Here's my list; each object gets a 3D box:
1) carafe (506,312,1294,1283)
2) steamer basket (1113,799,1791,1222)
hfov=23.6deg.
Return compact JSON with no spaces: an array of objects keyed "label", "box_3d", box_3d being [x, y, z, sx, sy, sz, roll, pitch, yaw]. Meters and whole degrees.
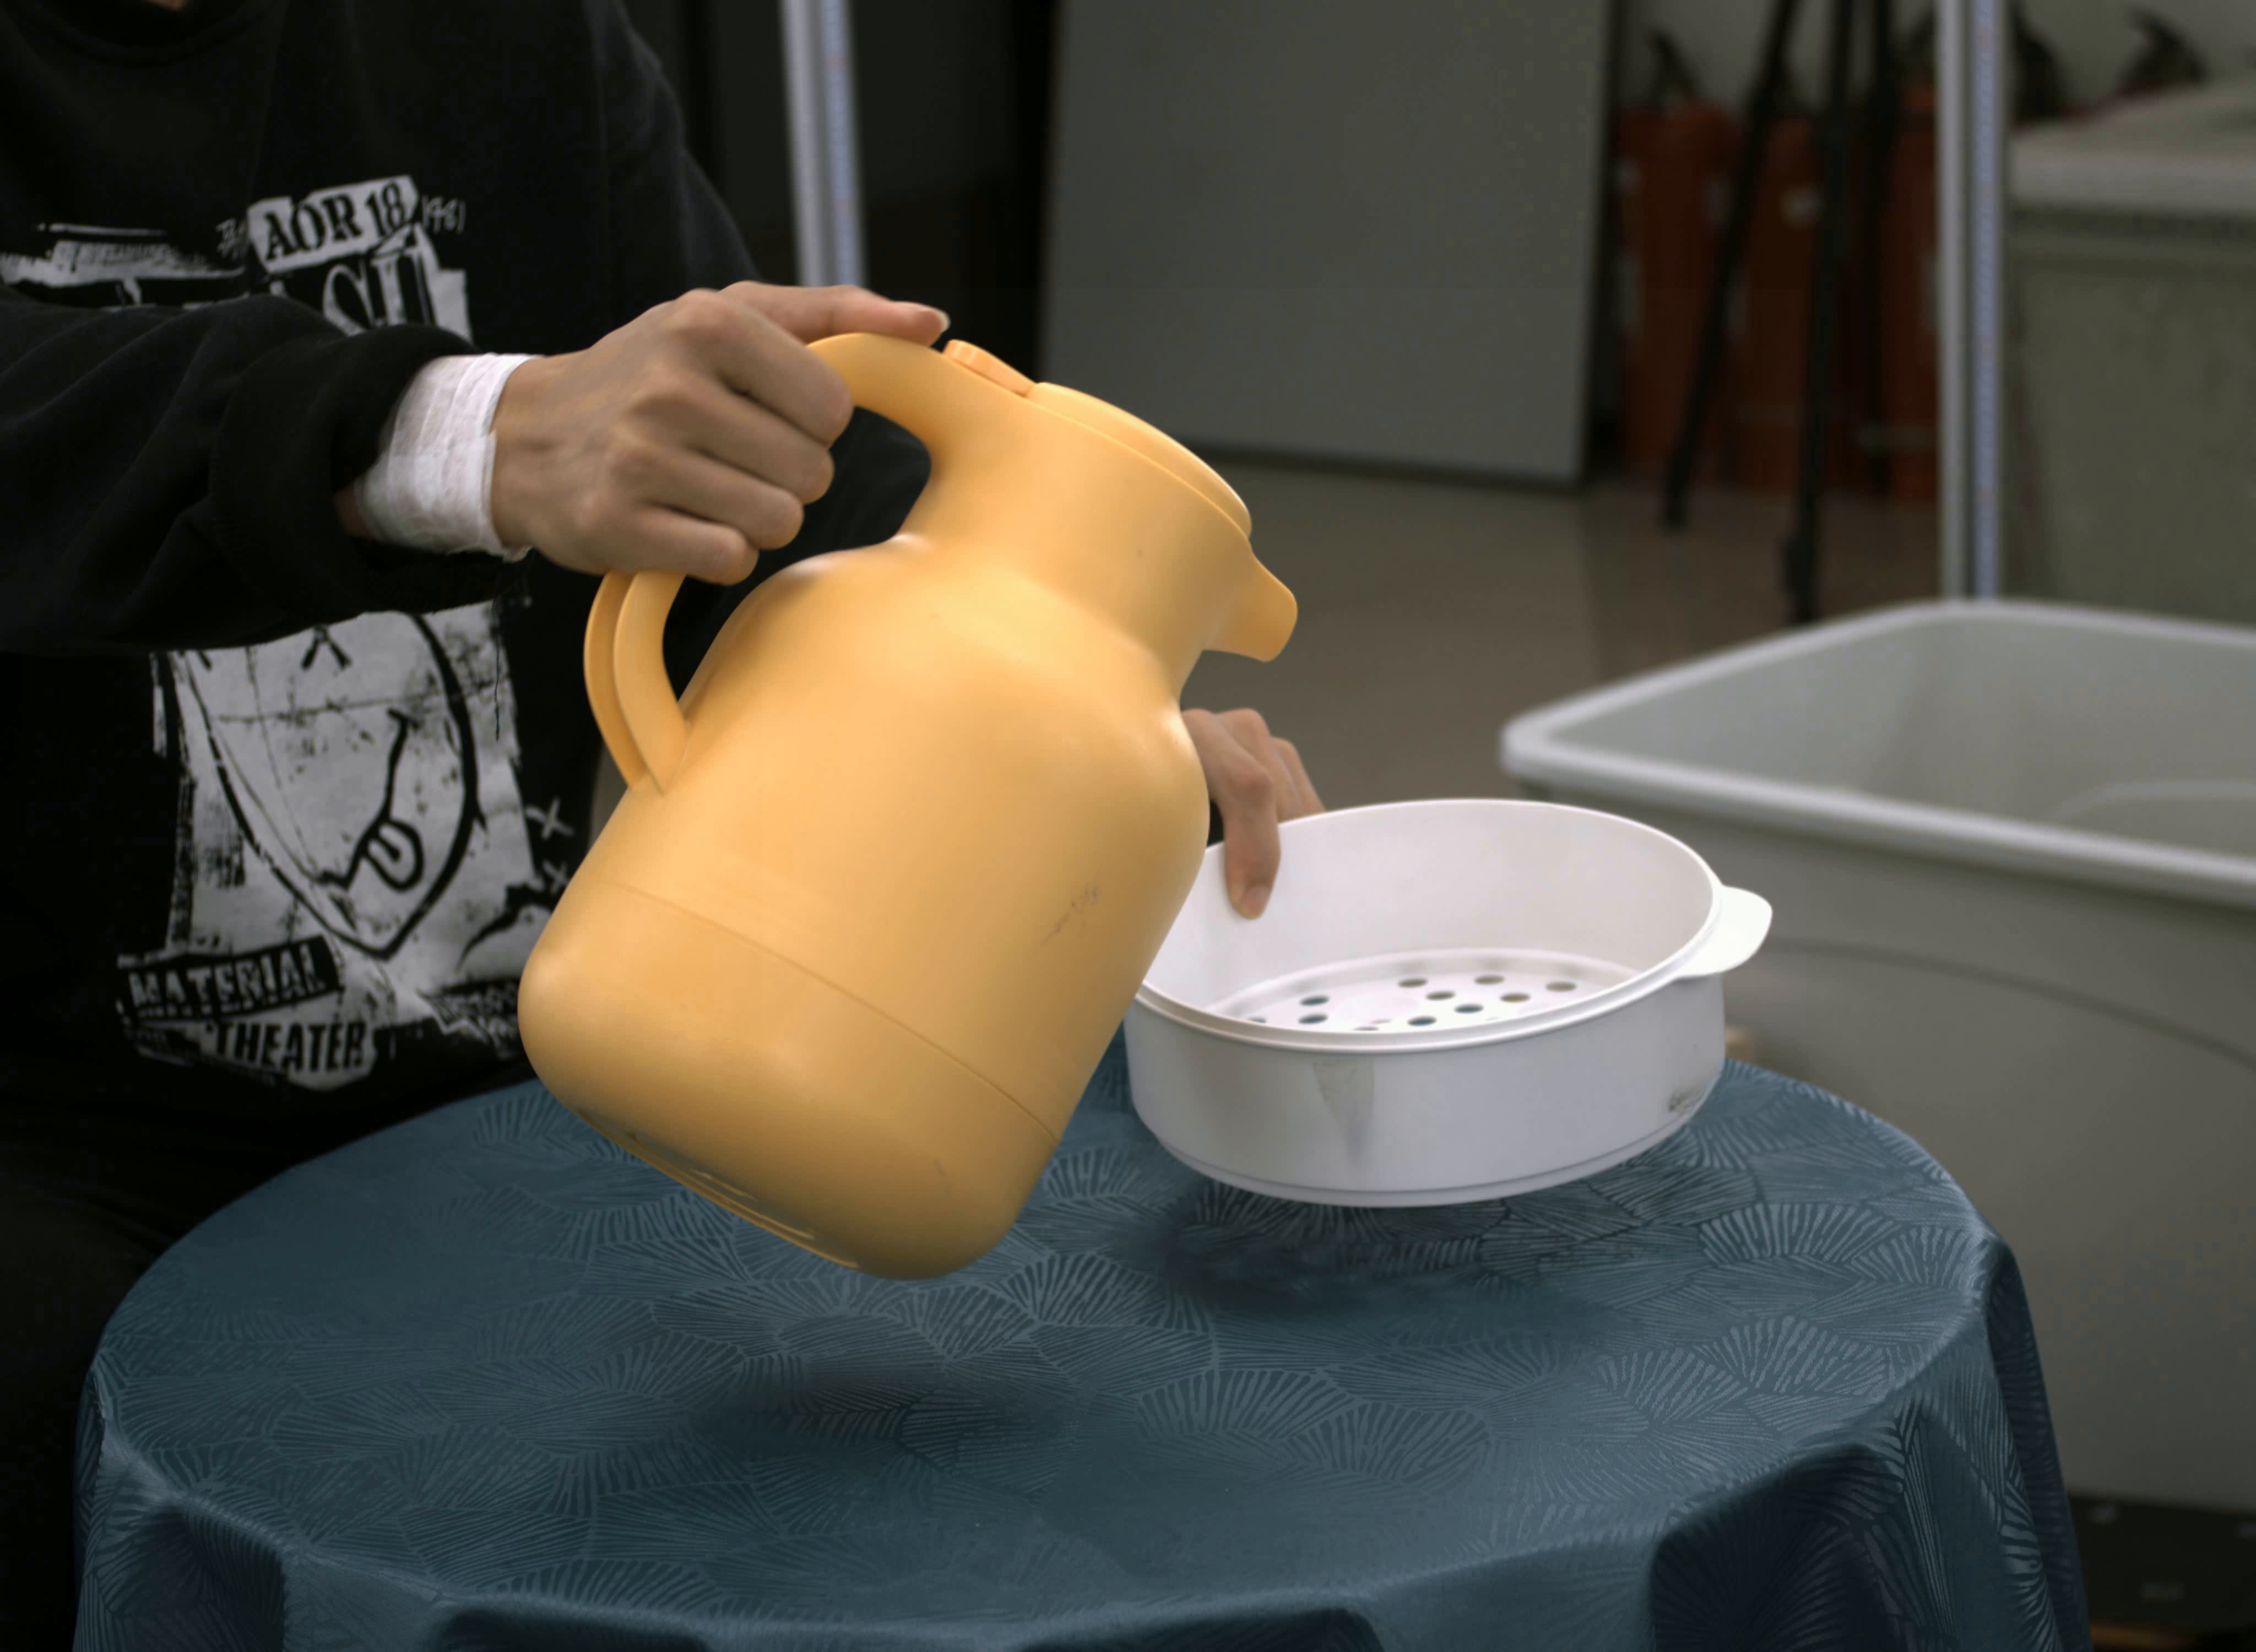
[{"label":"carafe","box_3d":[-0.077,-0.018,1.583,0.200,0.261,0.165,34,-12,-19]},{"label":"steamer basket","box_3d":[0.100,0.058,1.730,0.230,0.070,0.200,1,23,19]}]
